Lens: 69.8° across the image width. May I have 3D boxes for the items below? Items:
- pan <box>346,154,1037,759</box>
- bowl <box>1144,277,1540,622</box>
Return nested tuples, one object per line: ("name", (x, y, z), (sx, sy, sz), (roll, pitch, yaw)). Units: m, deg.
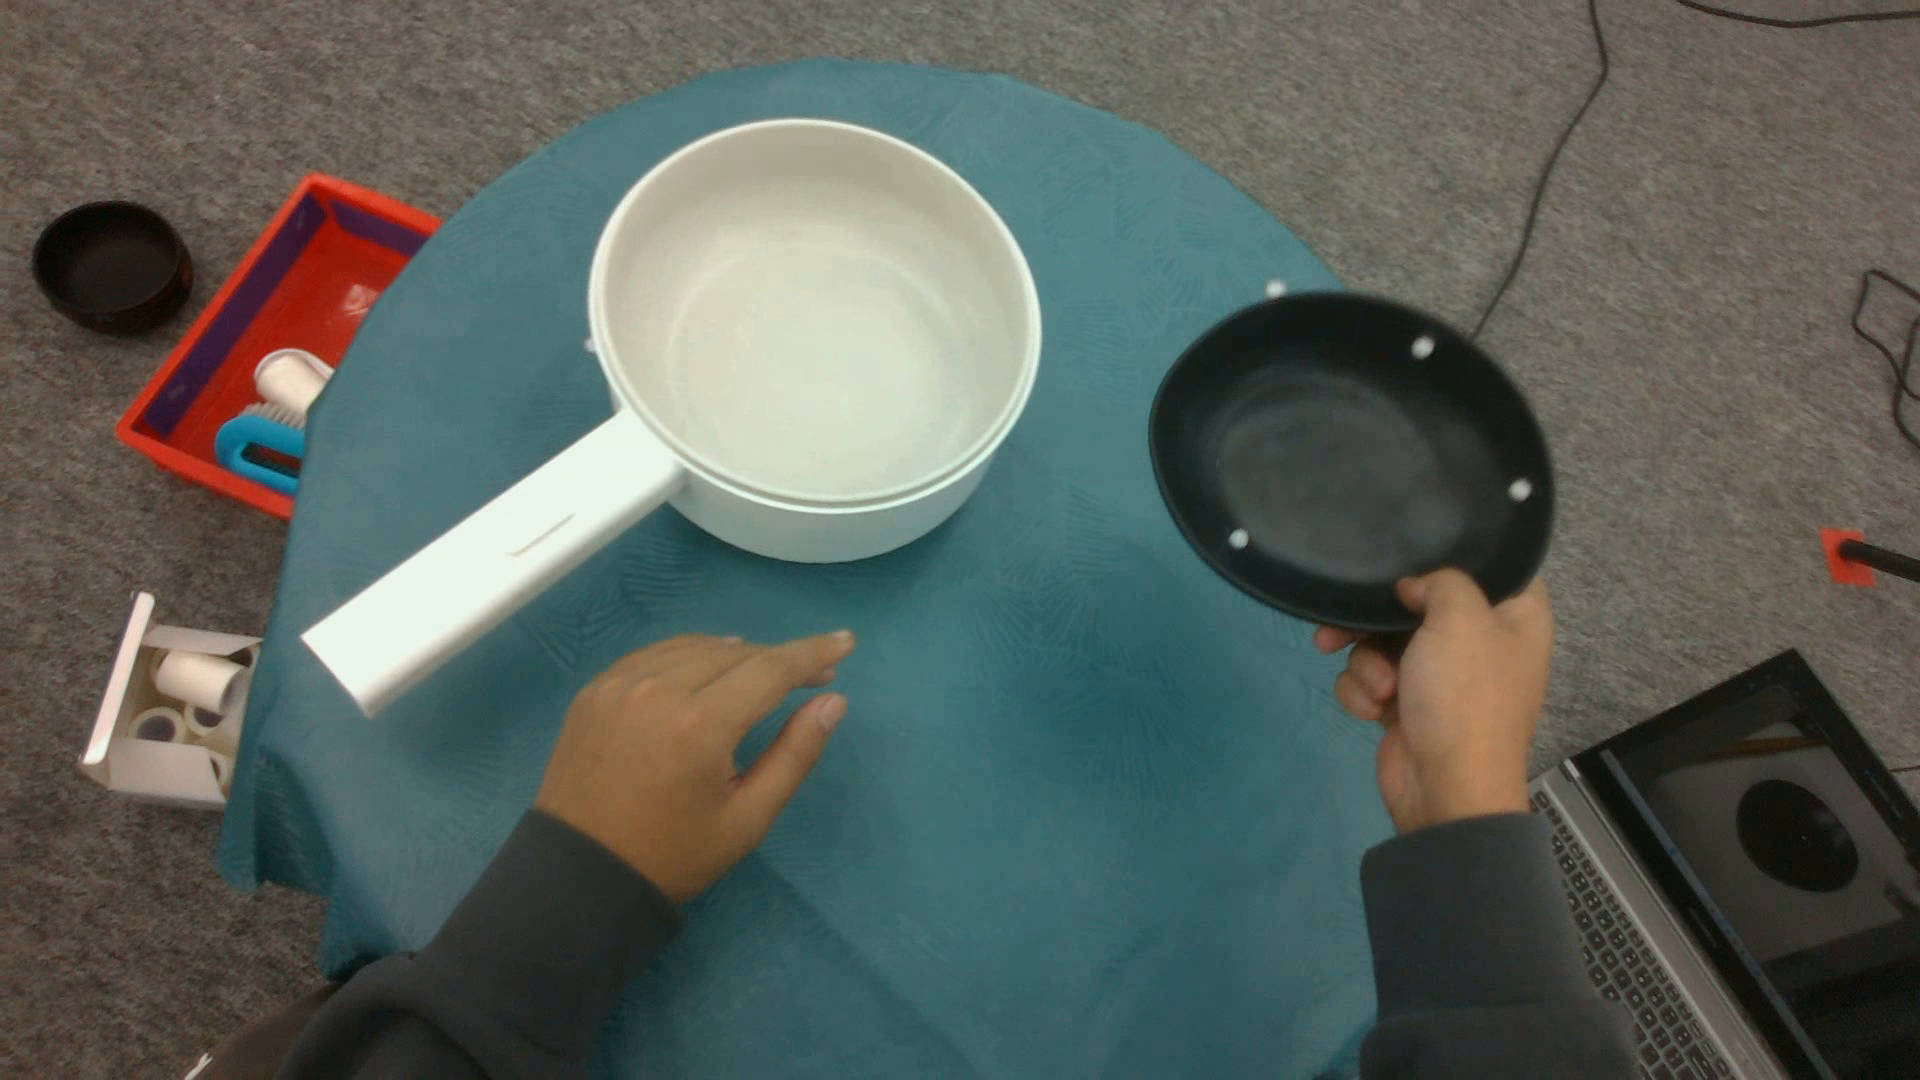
("pan", (-0.121, -0.028, 0.653), (0.201, 0.101, 0.356), (44, 70, 6))
("bowl", (0.159, -0.035, 0.587), (0.170, 0.066, 0.137), (20, 86, 2))
